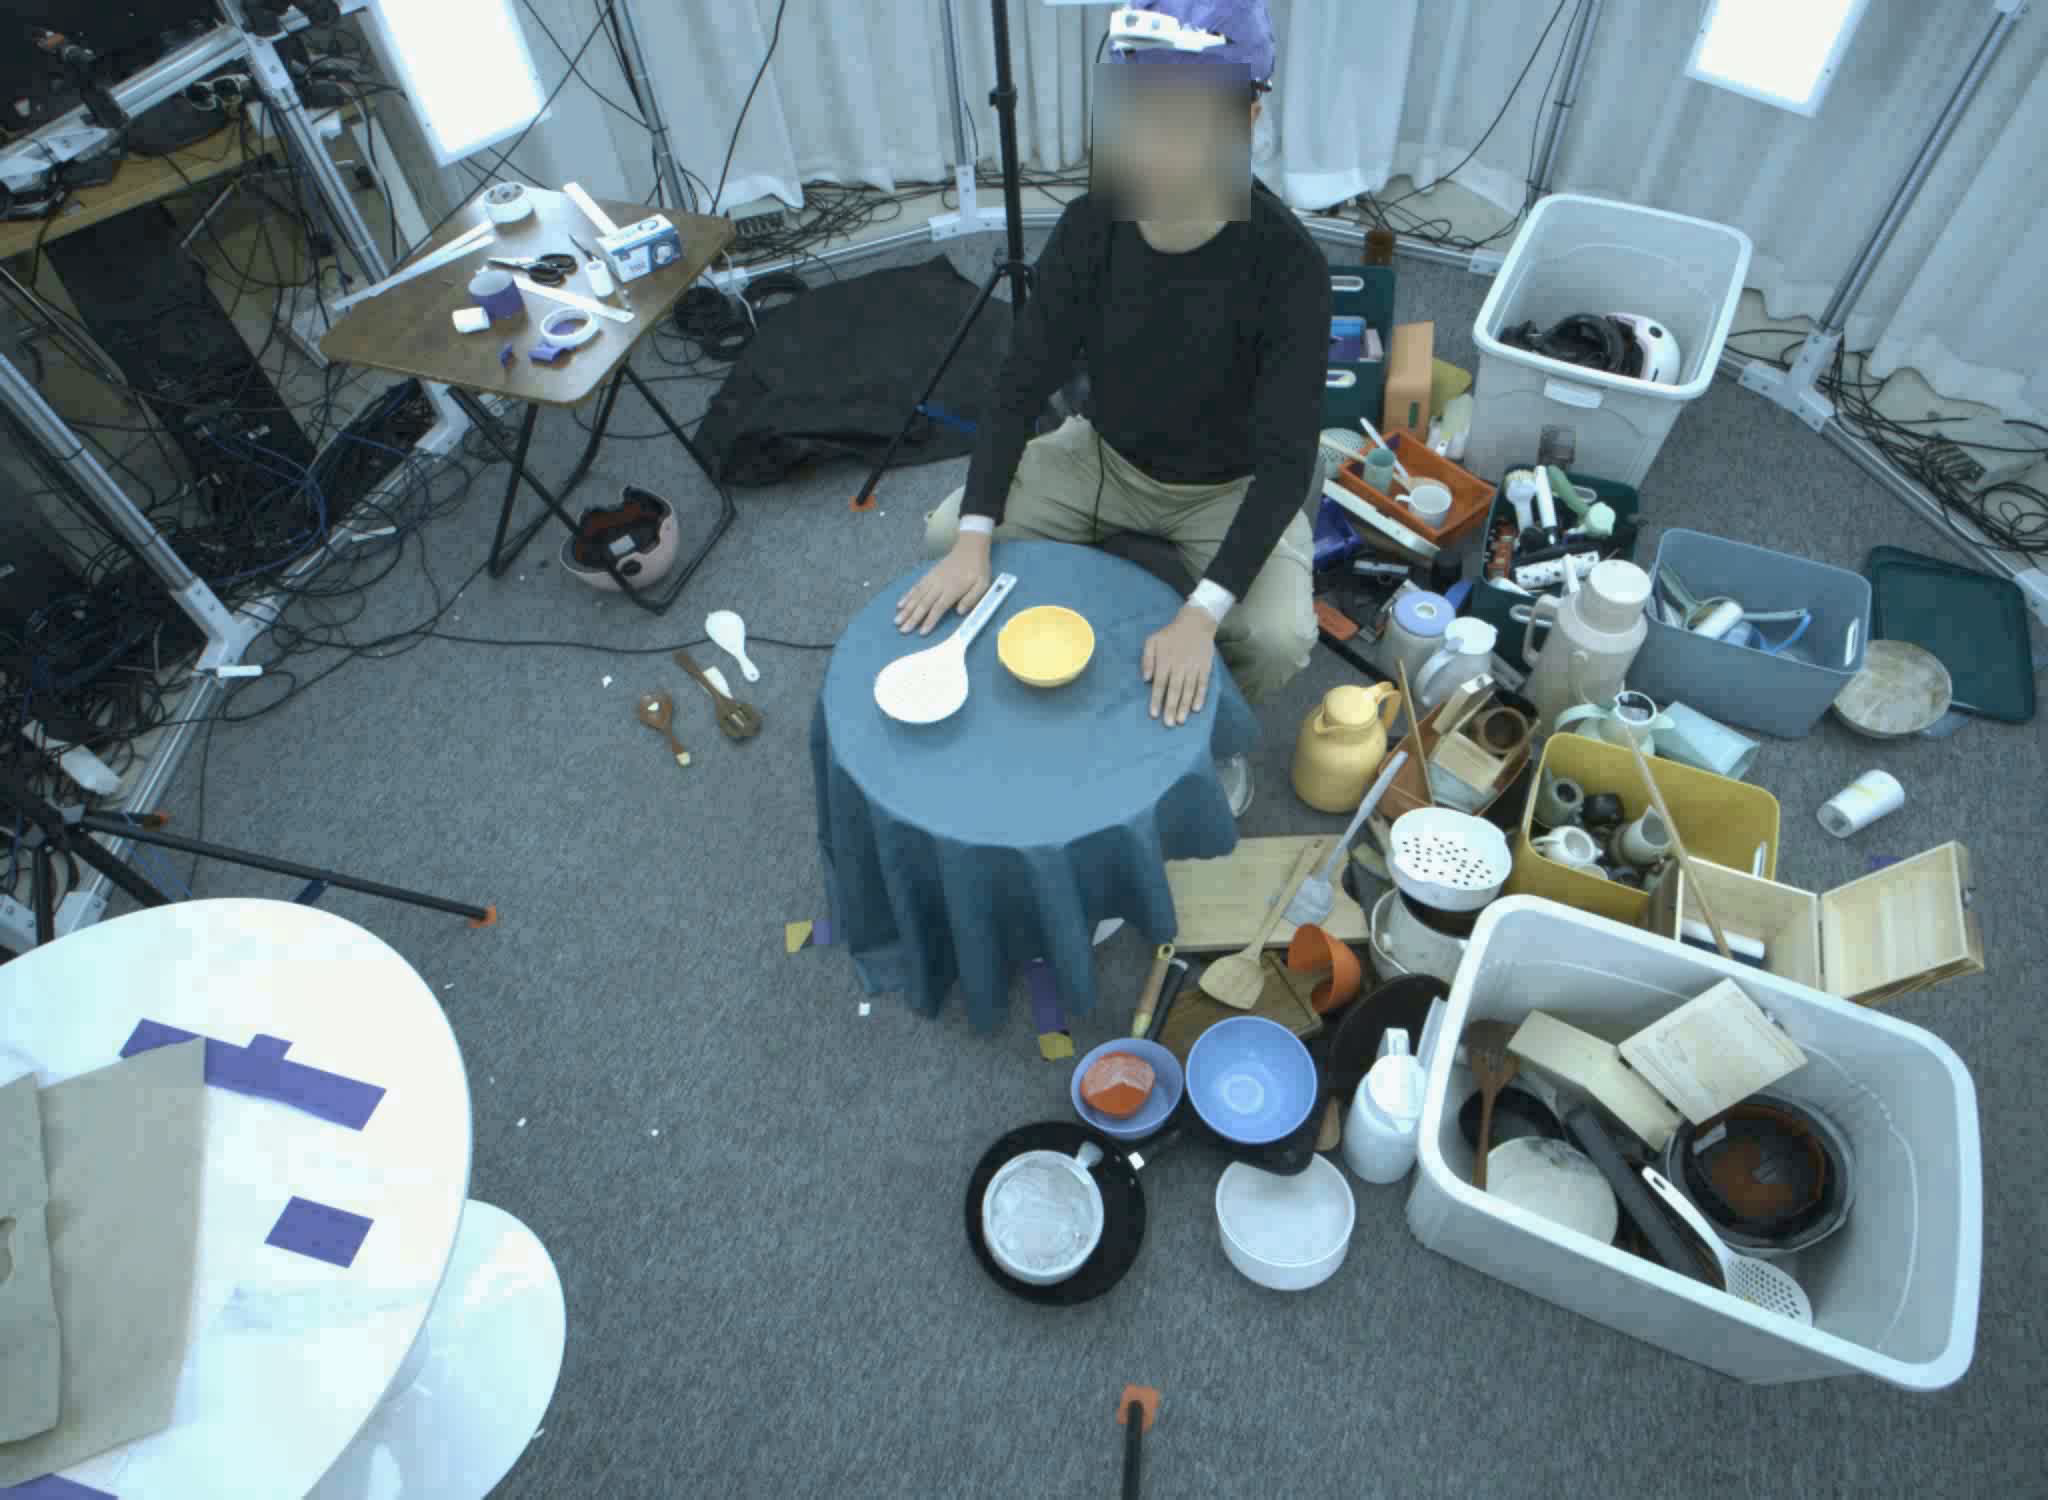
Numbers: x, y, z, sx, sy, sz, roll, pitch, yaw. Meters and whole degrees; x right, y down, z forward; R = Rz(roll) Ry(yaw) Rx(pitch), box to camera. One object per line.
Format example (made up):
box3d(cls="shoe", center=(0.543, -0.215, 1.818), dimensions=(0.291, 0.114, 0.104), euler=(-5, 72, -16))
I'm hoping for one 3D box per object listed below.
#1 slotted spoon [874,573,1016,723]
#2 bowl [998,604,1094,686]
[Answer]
box3d(cls="slotted spoon", center=(-0.104, -0.161, 1.877), dimensions=(0.134, 0.046, 0.350), euler=(22, 57, 16))
box3d(cls="bowl", center=(0.033, -0.146, 1.856), dimensions=(0.145, 0.061, 0.144), euler=(0, 57, 1))
